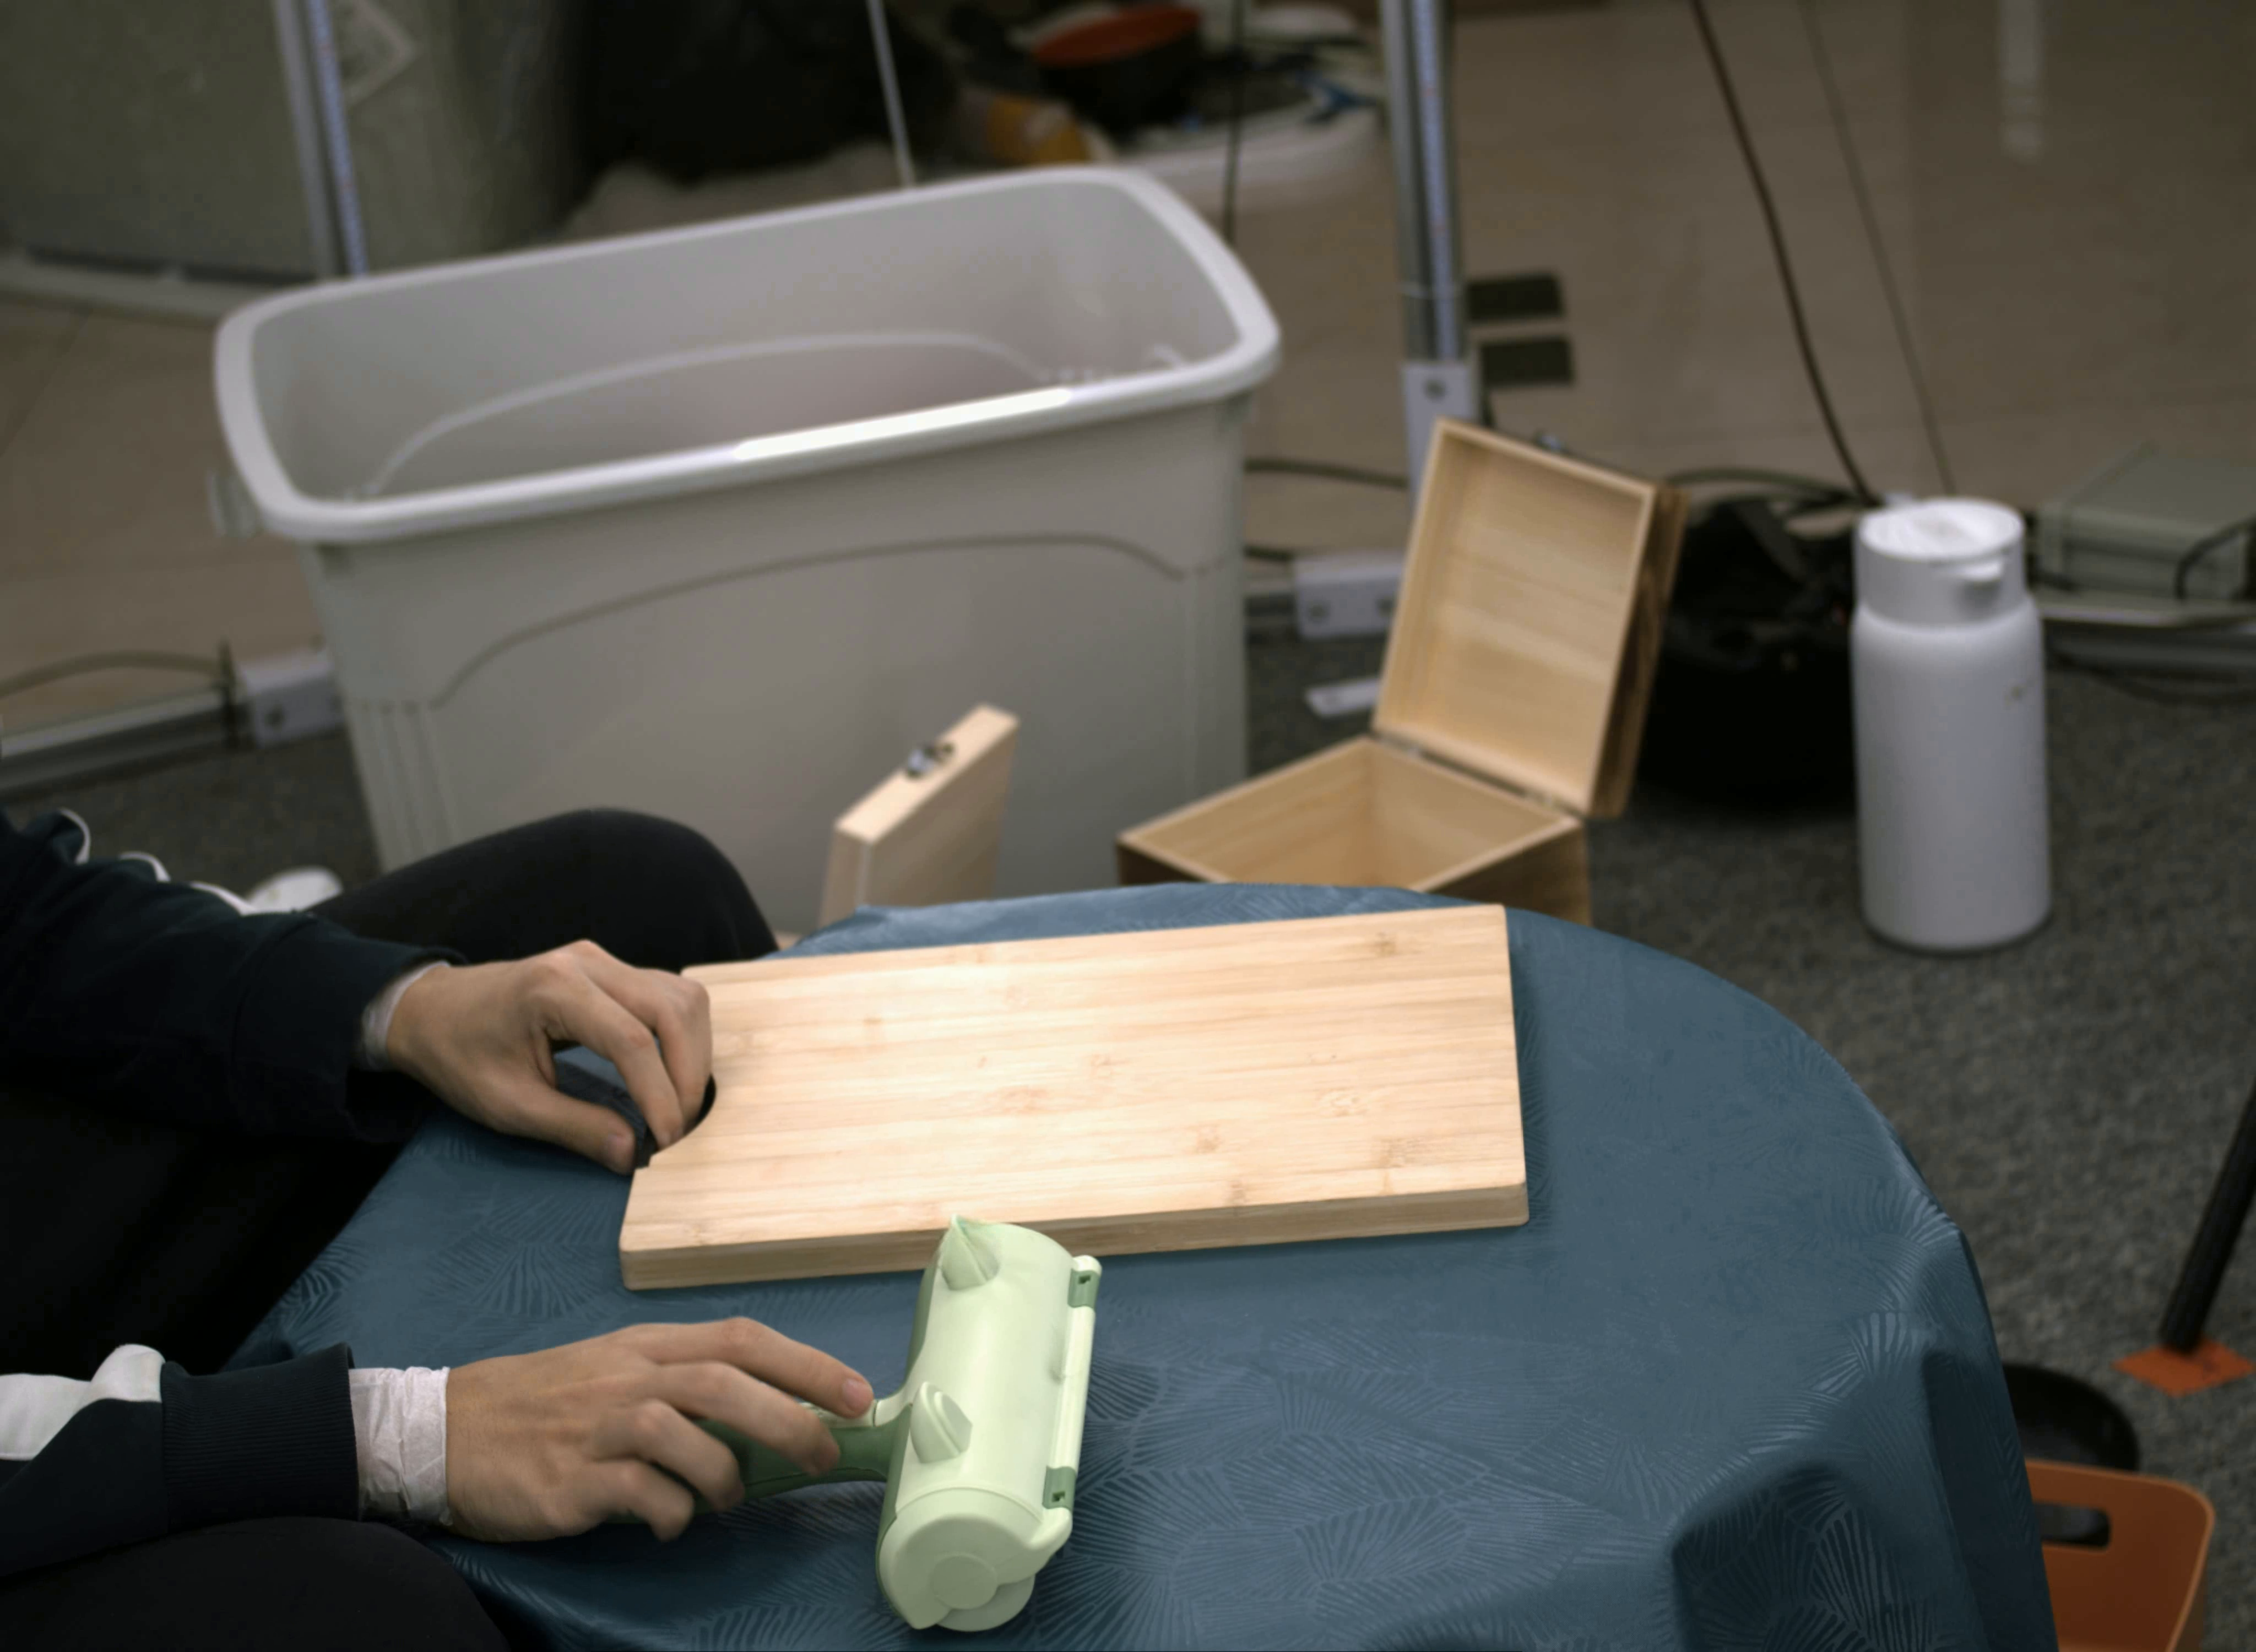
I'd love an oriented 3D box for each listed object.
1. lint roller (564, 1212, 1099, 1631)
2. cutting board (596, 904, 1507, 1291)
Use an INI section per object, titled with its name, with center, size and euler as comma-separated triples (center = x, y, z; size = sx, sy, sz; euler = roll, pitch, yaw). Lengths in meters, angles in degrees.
[lint roller]
center = -0.106, 0.198, 1.948
size = 0.183, 0.083, 0.195
euler = -1, 26, 4
[cutting board]
center = -0.022, 0.103, 2.207
size = 0.348, 0.024, 0.247
euler = -5, 25, 3
